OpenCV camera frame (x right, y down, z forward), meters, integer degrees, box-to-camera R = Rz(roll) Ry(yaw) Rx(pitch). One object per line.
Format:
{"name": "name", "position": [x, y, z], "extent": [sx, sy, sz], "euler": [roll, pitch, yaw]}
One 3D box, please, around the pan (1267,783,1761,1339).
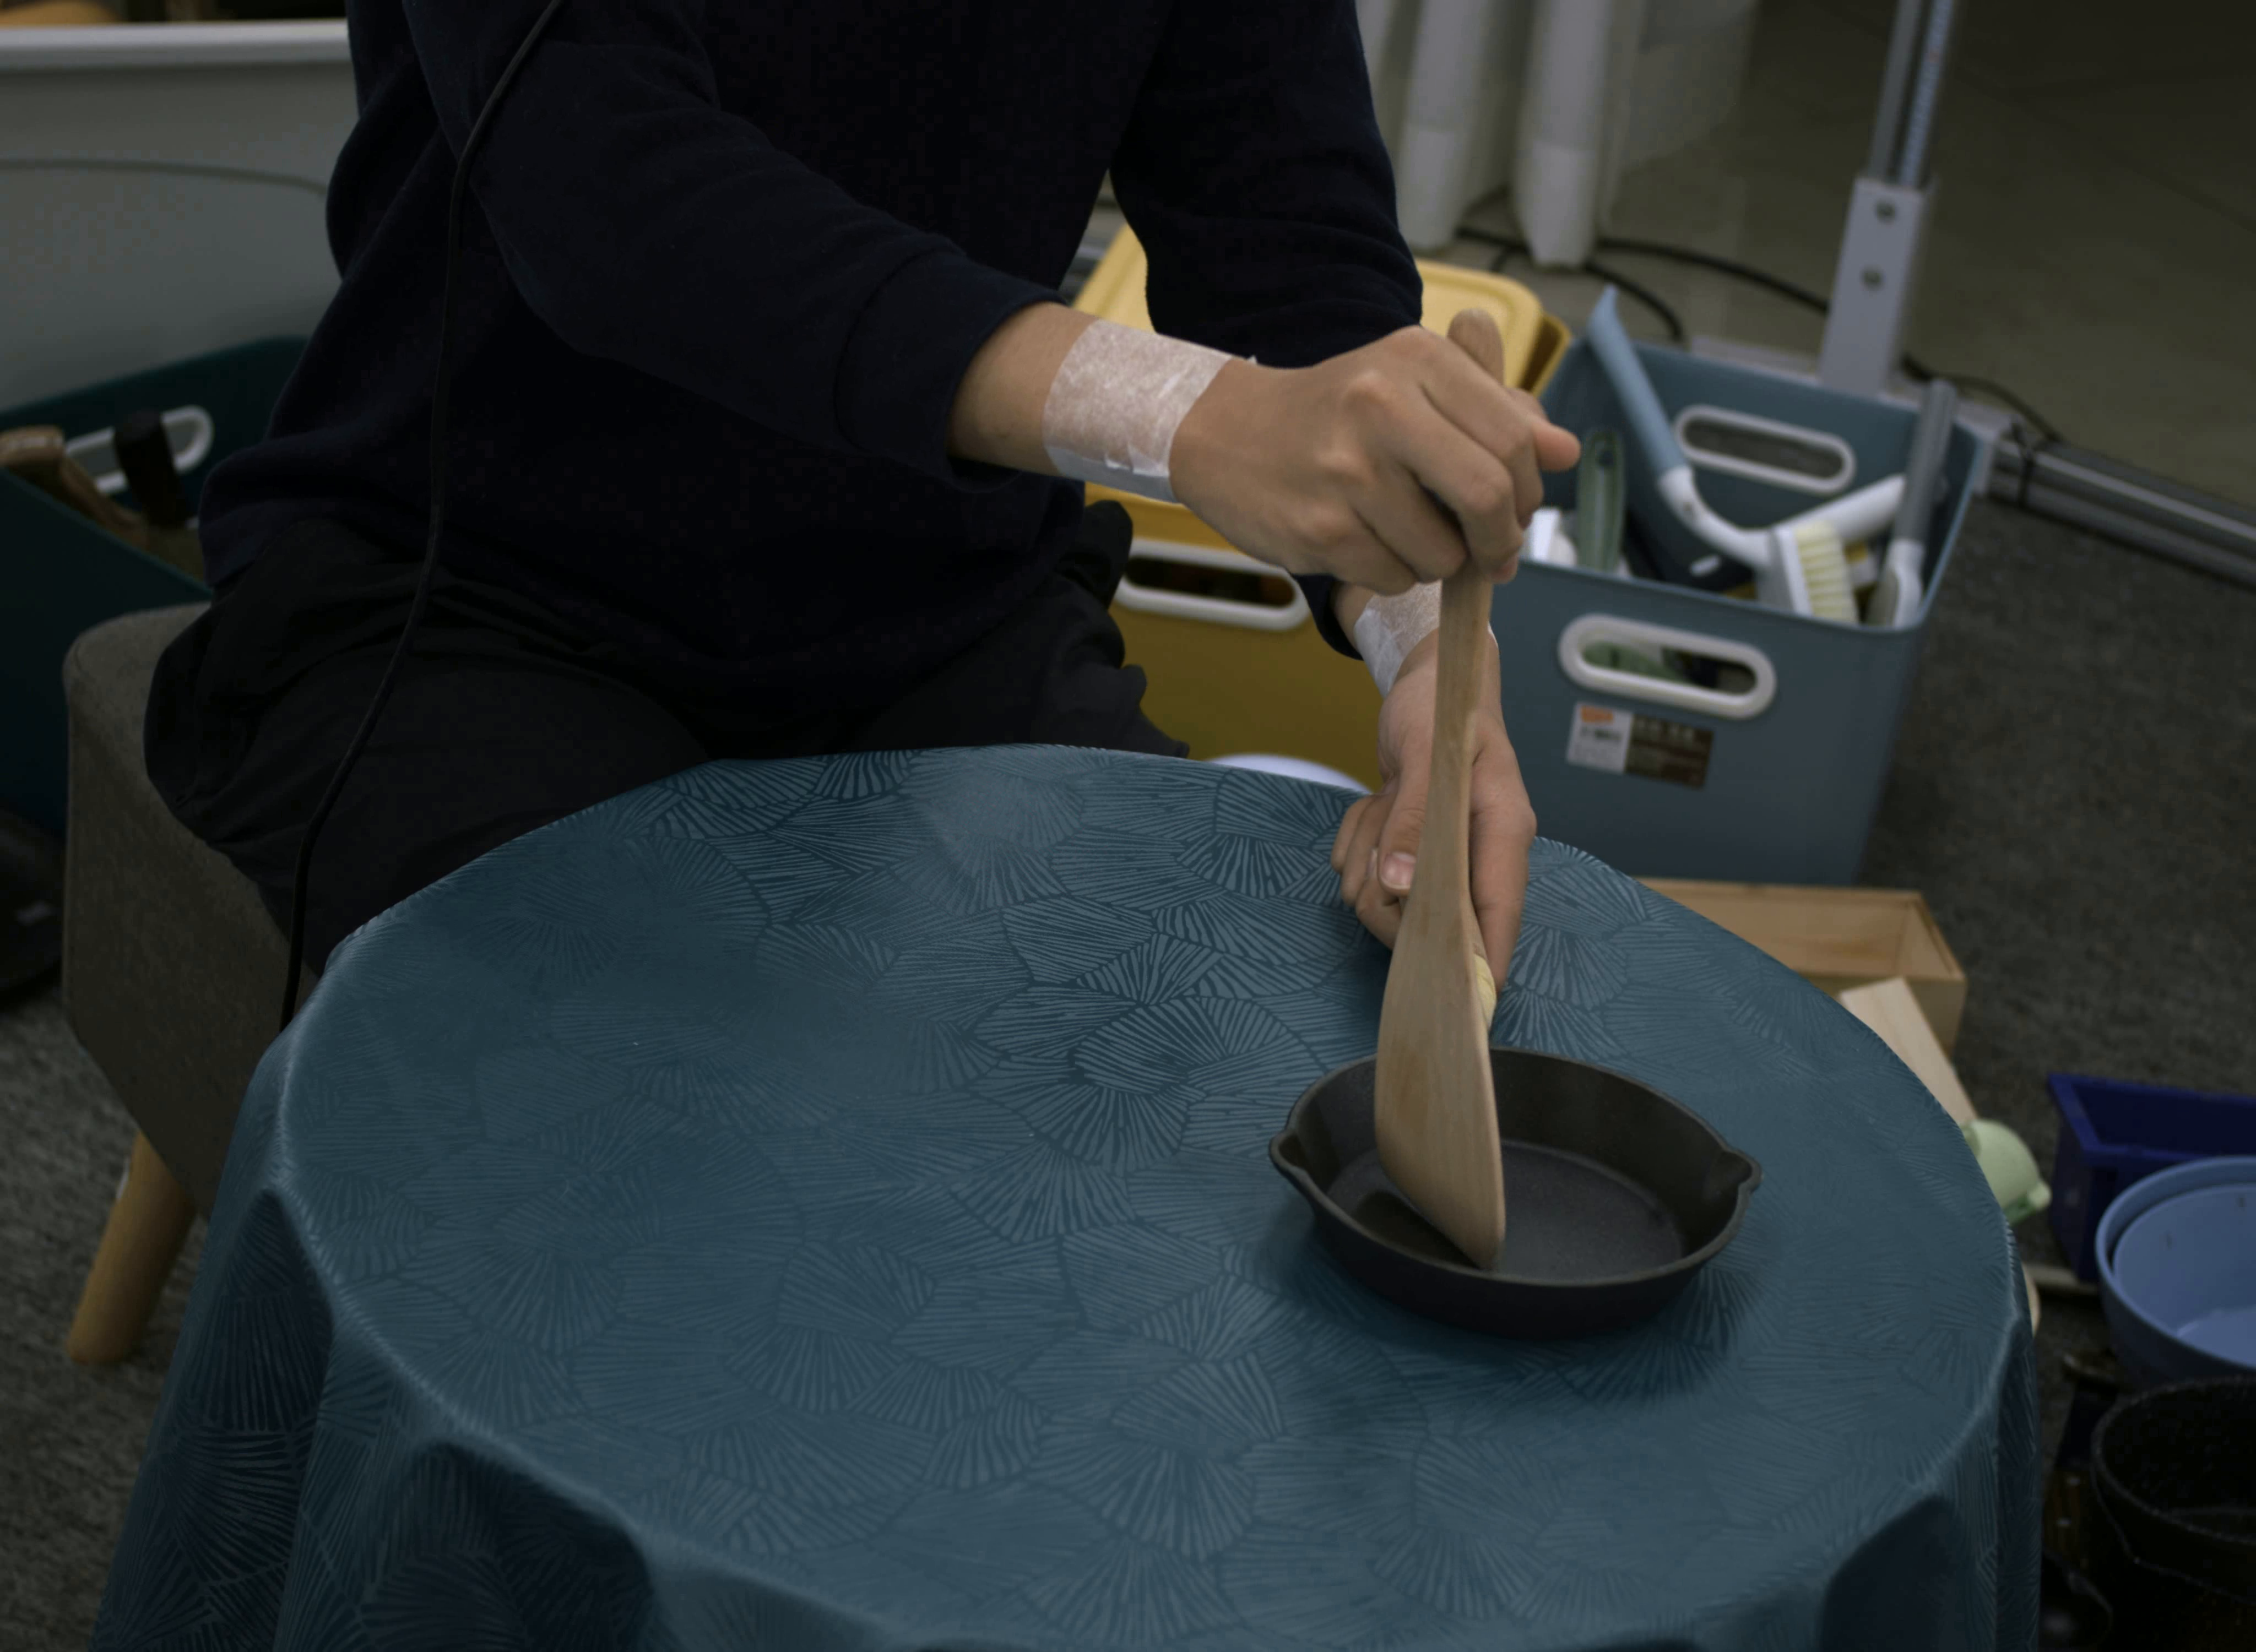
{"name": "pan", "position": [0.123, 0.079, 1.862], "extent": [0.168, 0.049, 0.326], "euler": [3, 28, -6]}

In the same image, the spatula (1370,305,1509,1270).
{"name": "spatula", "position": [0.107, -0.010, 1.738], "extent": [0.016, 0.327, 0.080], "euler": [-8, 21, -29]}
